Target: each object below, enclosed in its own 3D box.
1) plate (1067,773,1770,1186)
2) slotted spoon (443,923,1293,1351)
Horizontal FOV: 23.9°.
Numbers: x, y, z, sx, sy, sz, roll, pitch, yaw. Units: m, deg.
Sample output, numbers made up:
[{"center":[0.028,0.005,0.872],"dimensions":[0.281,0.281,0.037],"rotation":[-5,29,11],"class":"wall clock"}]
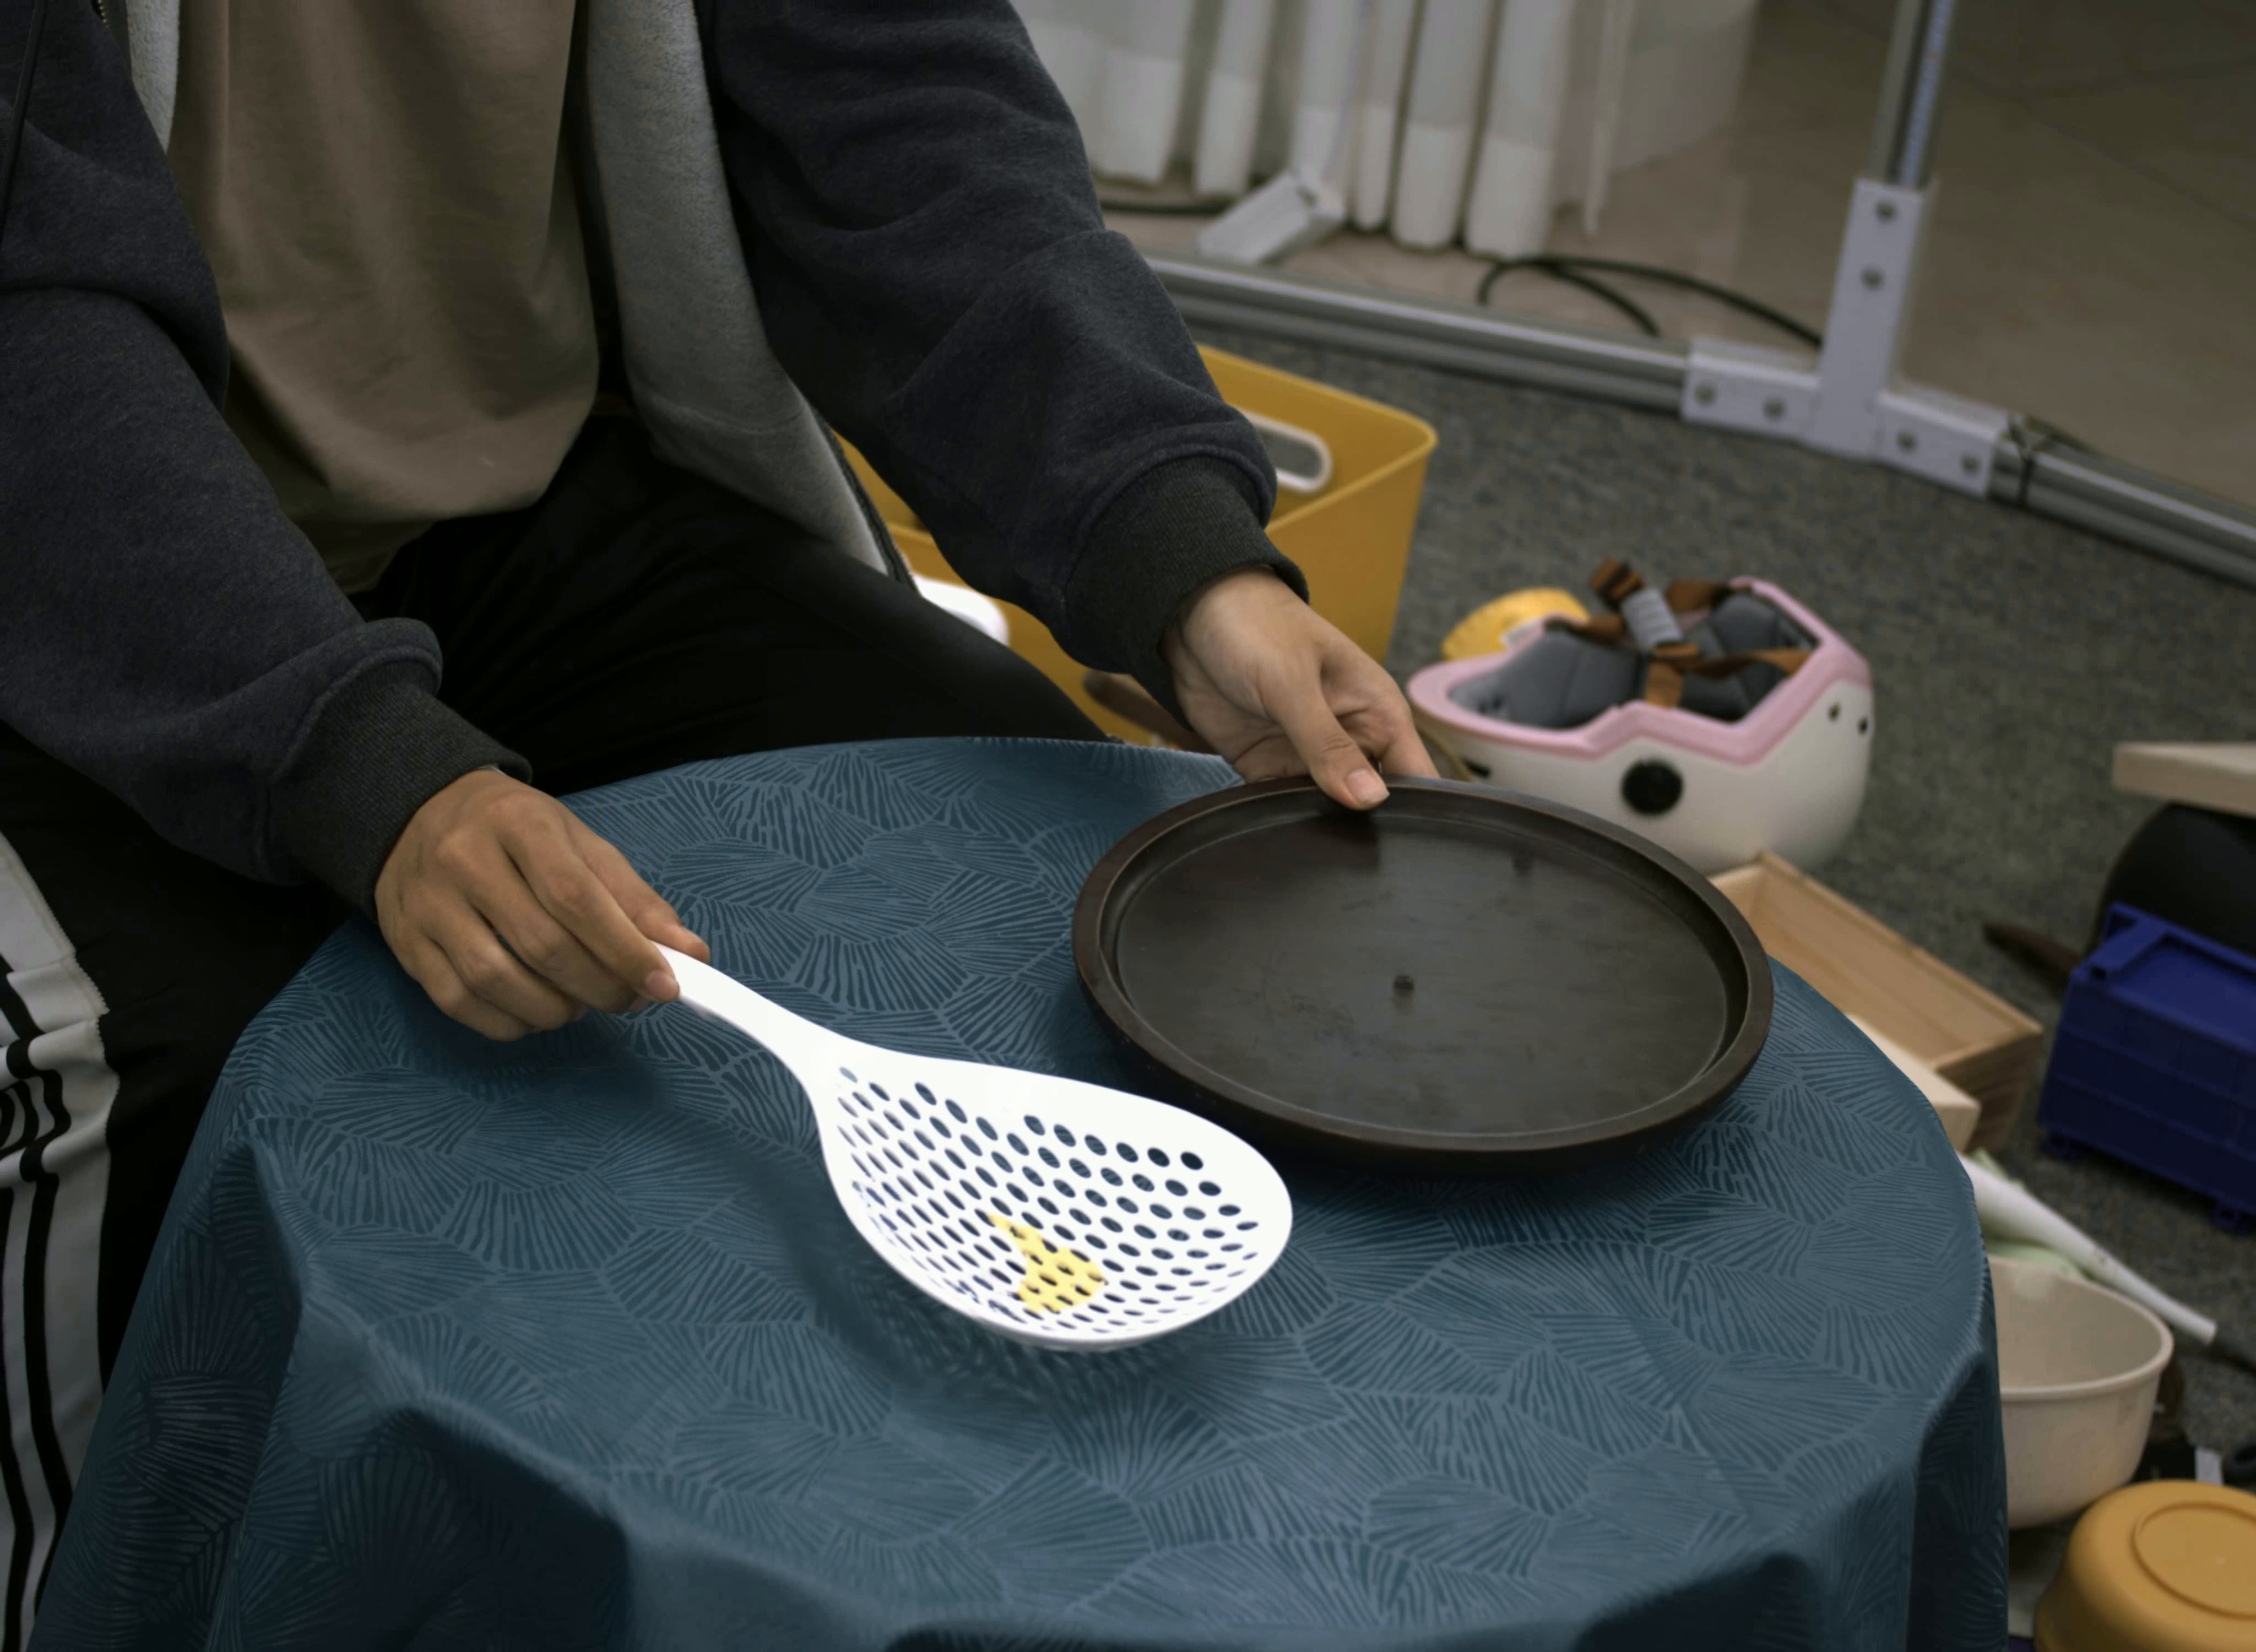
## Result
[{"center":[0.103,0.052,1.899],"dimensions":[0.254,0.029,0.256],"rotation":[3,31,-2],"class":"plate"},{"center":[-0.100,0.090,1.781],"dimensions":[0.350,0.050,0.136],"rotation":[30,42,30],"class":"slotted spoon"}]
